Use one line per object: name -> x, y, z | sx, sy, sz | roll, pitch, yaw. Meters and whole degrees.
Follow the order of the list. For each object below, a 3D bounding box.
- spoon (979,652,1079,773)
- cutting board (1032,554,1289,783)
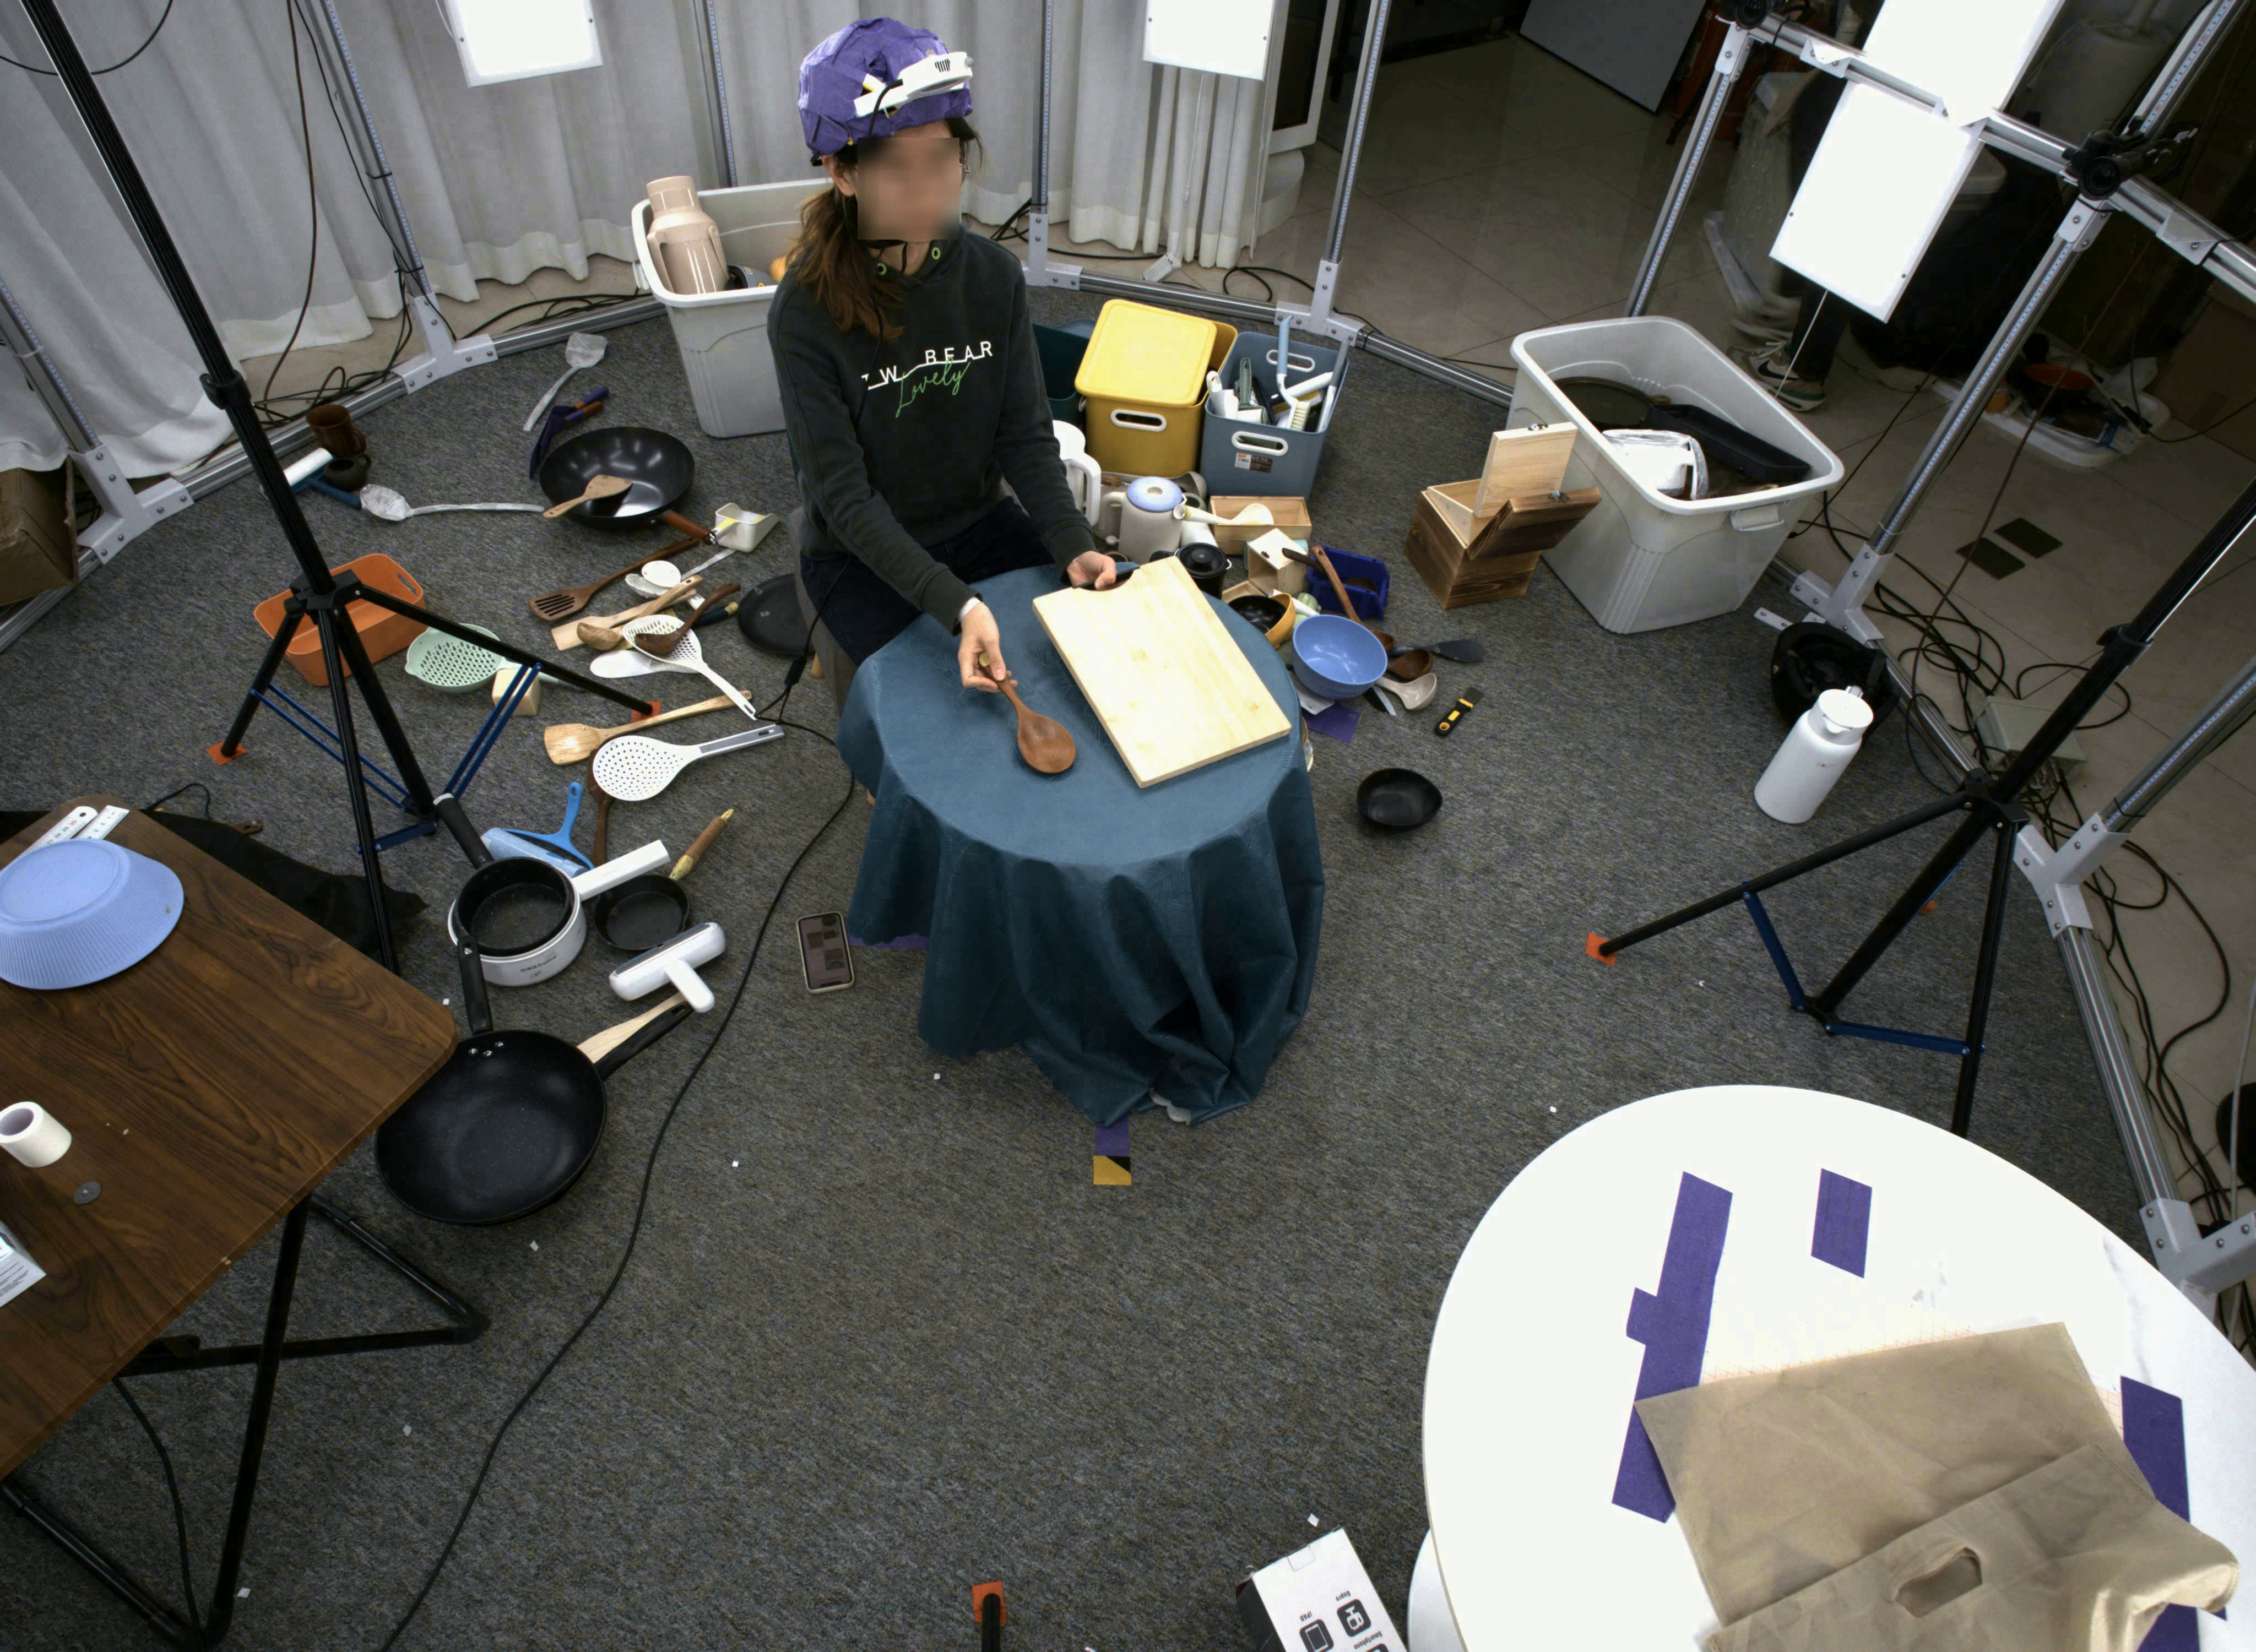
spoon -> -0.143, -0.158, 1.771 | 0.076, 0.017, 0.219 | -29, 69, -17
cutting board -> 0.043, -0.233, 1.843 | 0.251, 0.023, 0.355 | -21, 62, -21
